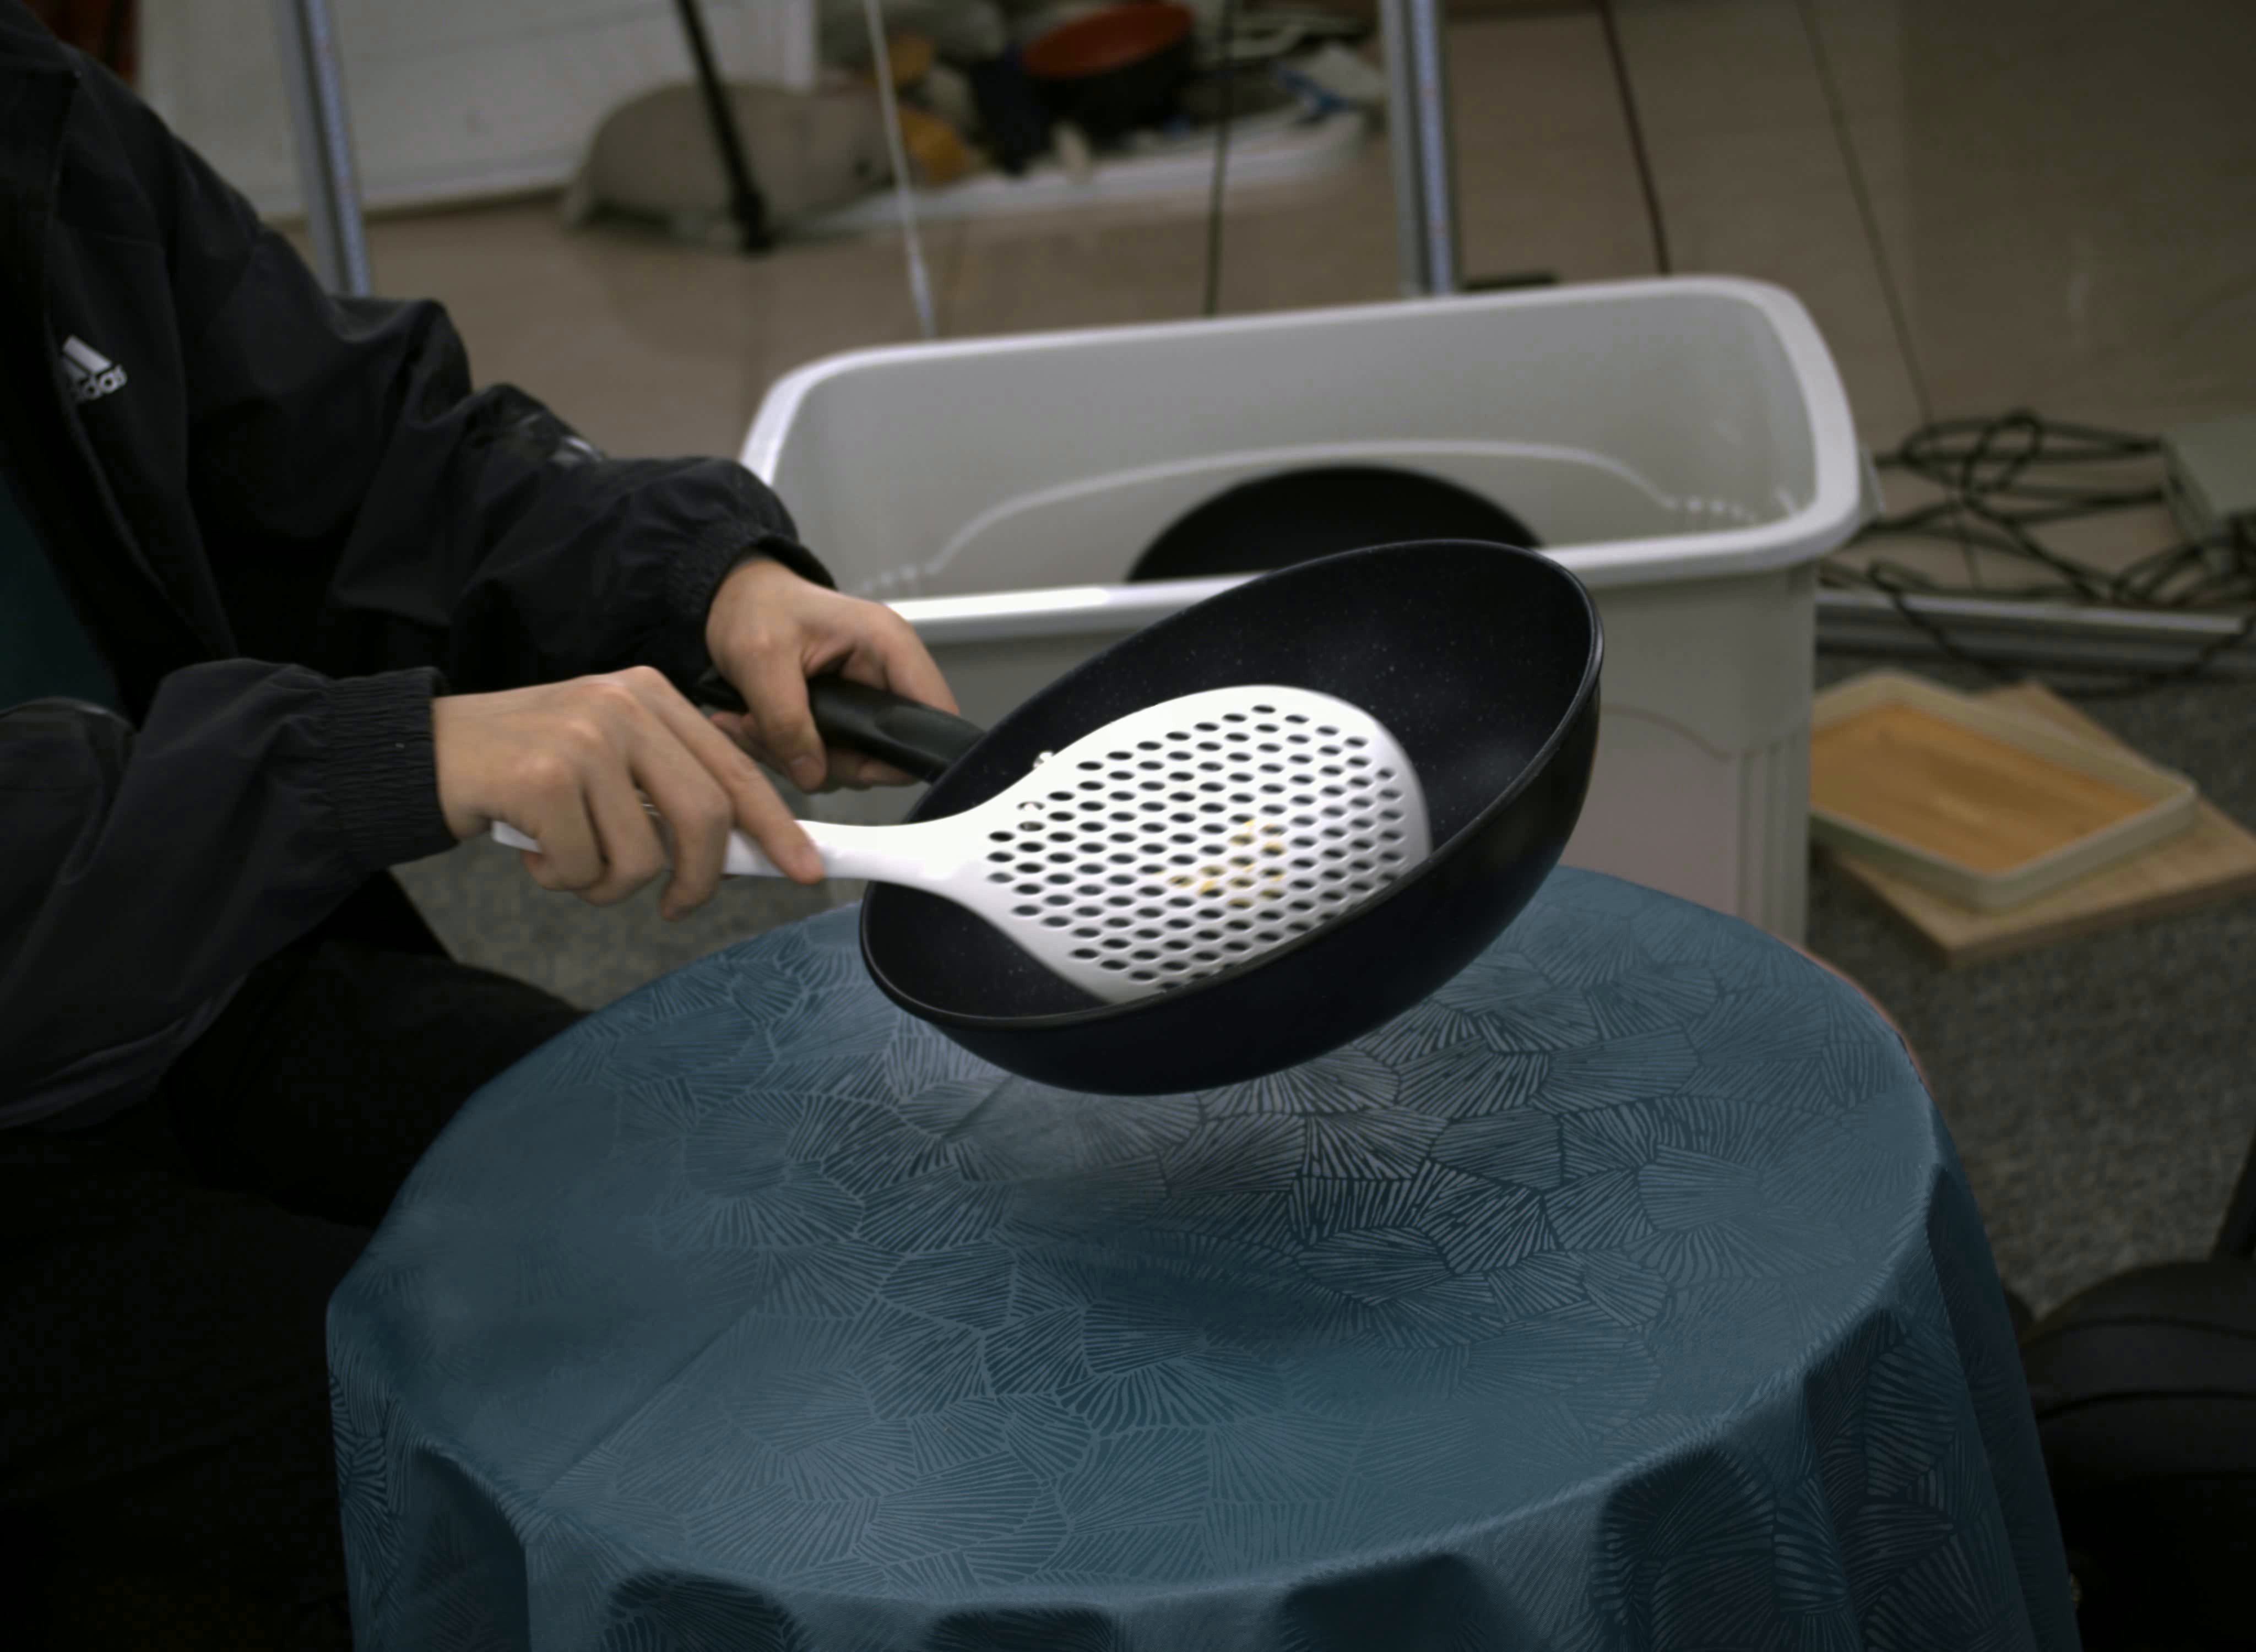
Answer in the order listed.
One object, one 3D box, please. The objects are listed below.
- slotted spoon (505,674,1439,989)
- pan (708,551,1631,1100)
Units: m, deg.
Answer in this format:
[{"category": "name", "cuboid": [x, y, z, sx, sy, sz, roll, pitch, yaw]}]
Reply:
[{"category": "slotted spoon", "cuboid": [-0.054, 0.008, 2.082, 0.347, 0.137, 0.050, 2, 1, -6]}, {"category": "pan", "cuboid": [0.002, -0.002, 2.214, 0.307, 0.113, 0.475, -42, 29, -29]}]
